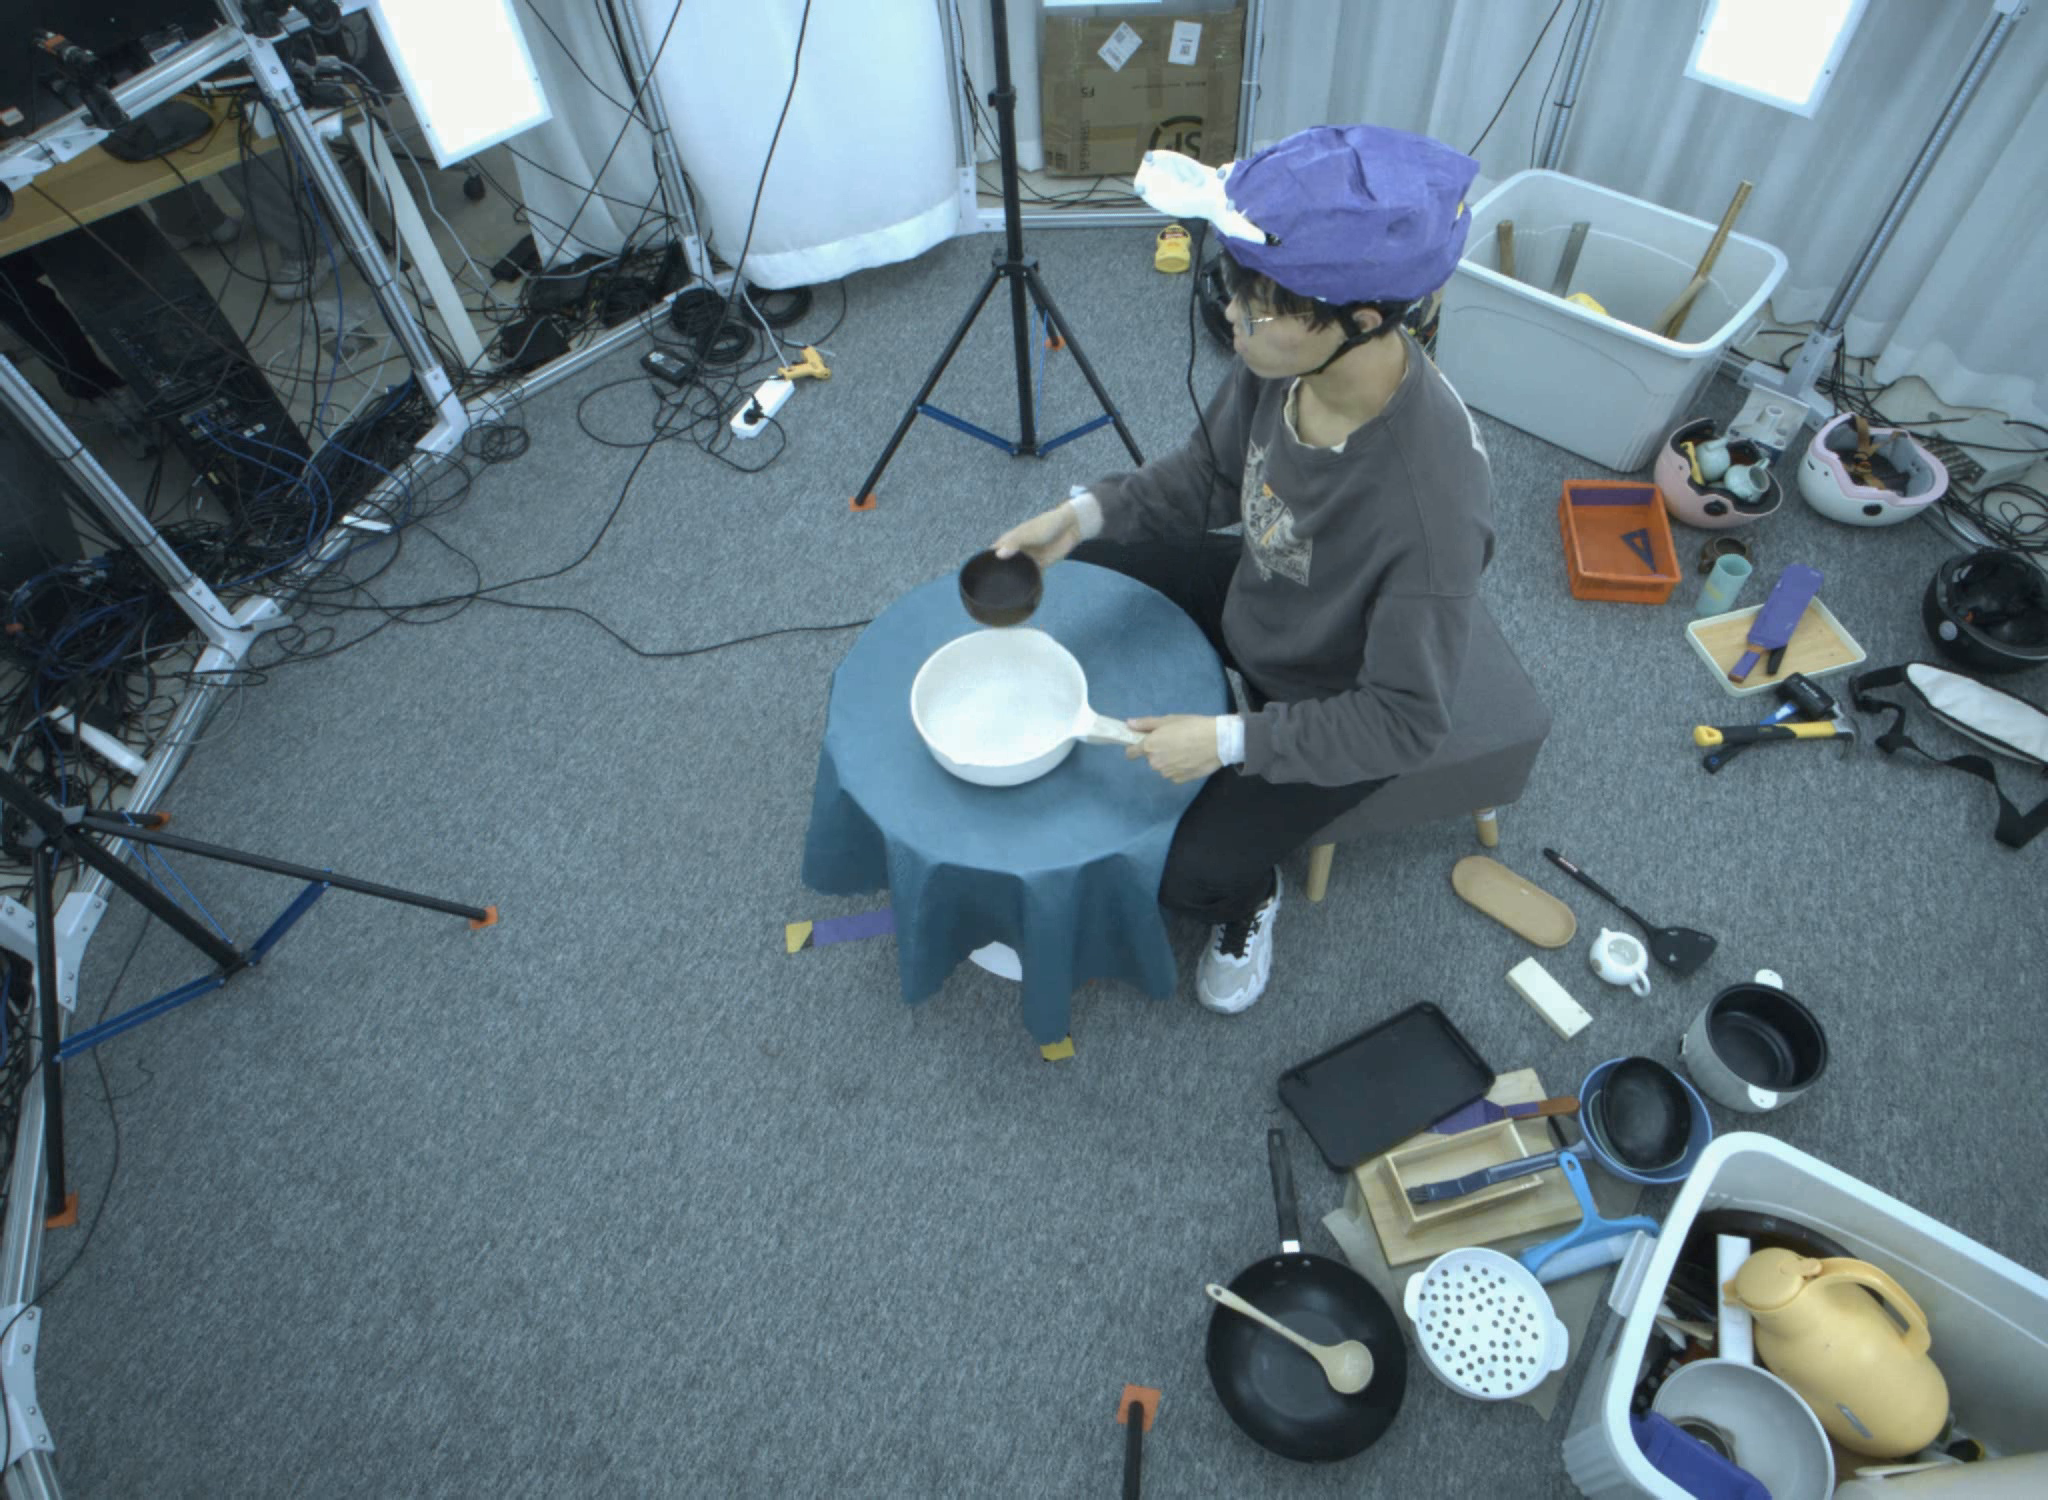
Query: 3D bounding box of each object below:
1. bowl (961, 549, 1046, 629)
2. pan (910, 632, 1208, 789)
[{"bbox_3d":[-0.028,-0.217,1.717,0.118,0.070,0.117,0,54,2],"label":"bowl"},{"bbox_3d":[0.049,-0.028,1.743,0.430,0.103,0.263,19,55,14],"label":"pan"}]
